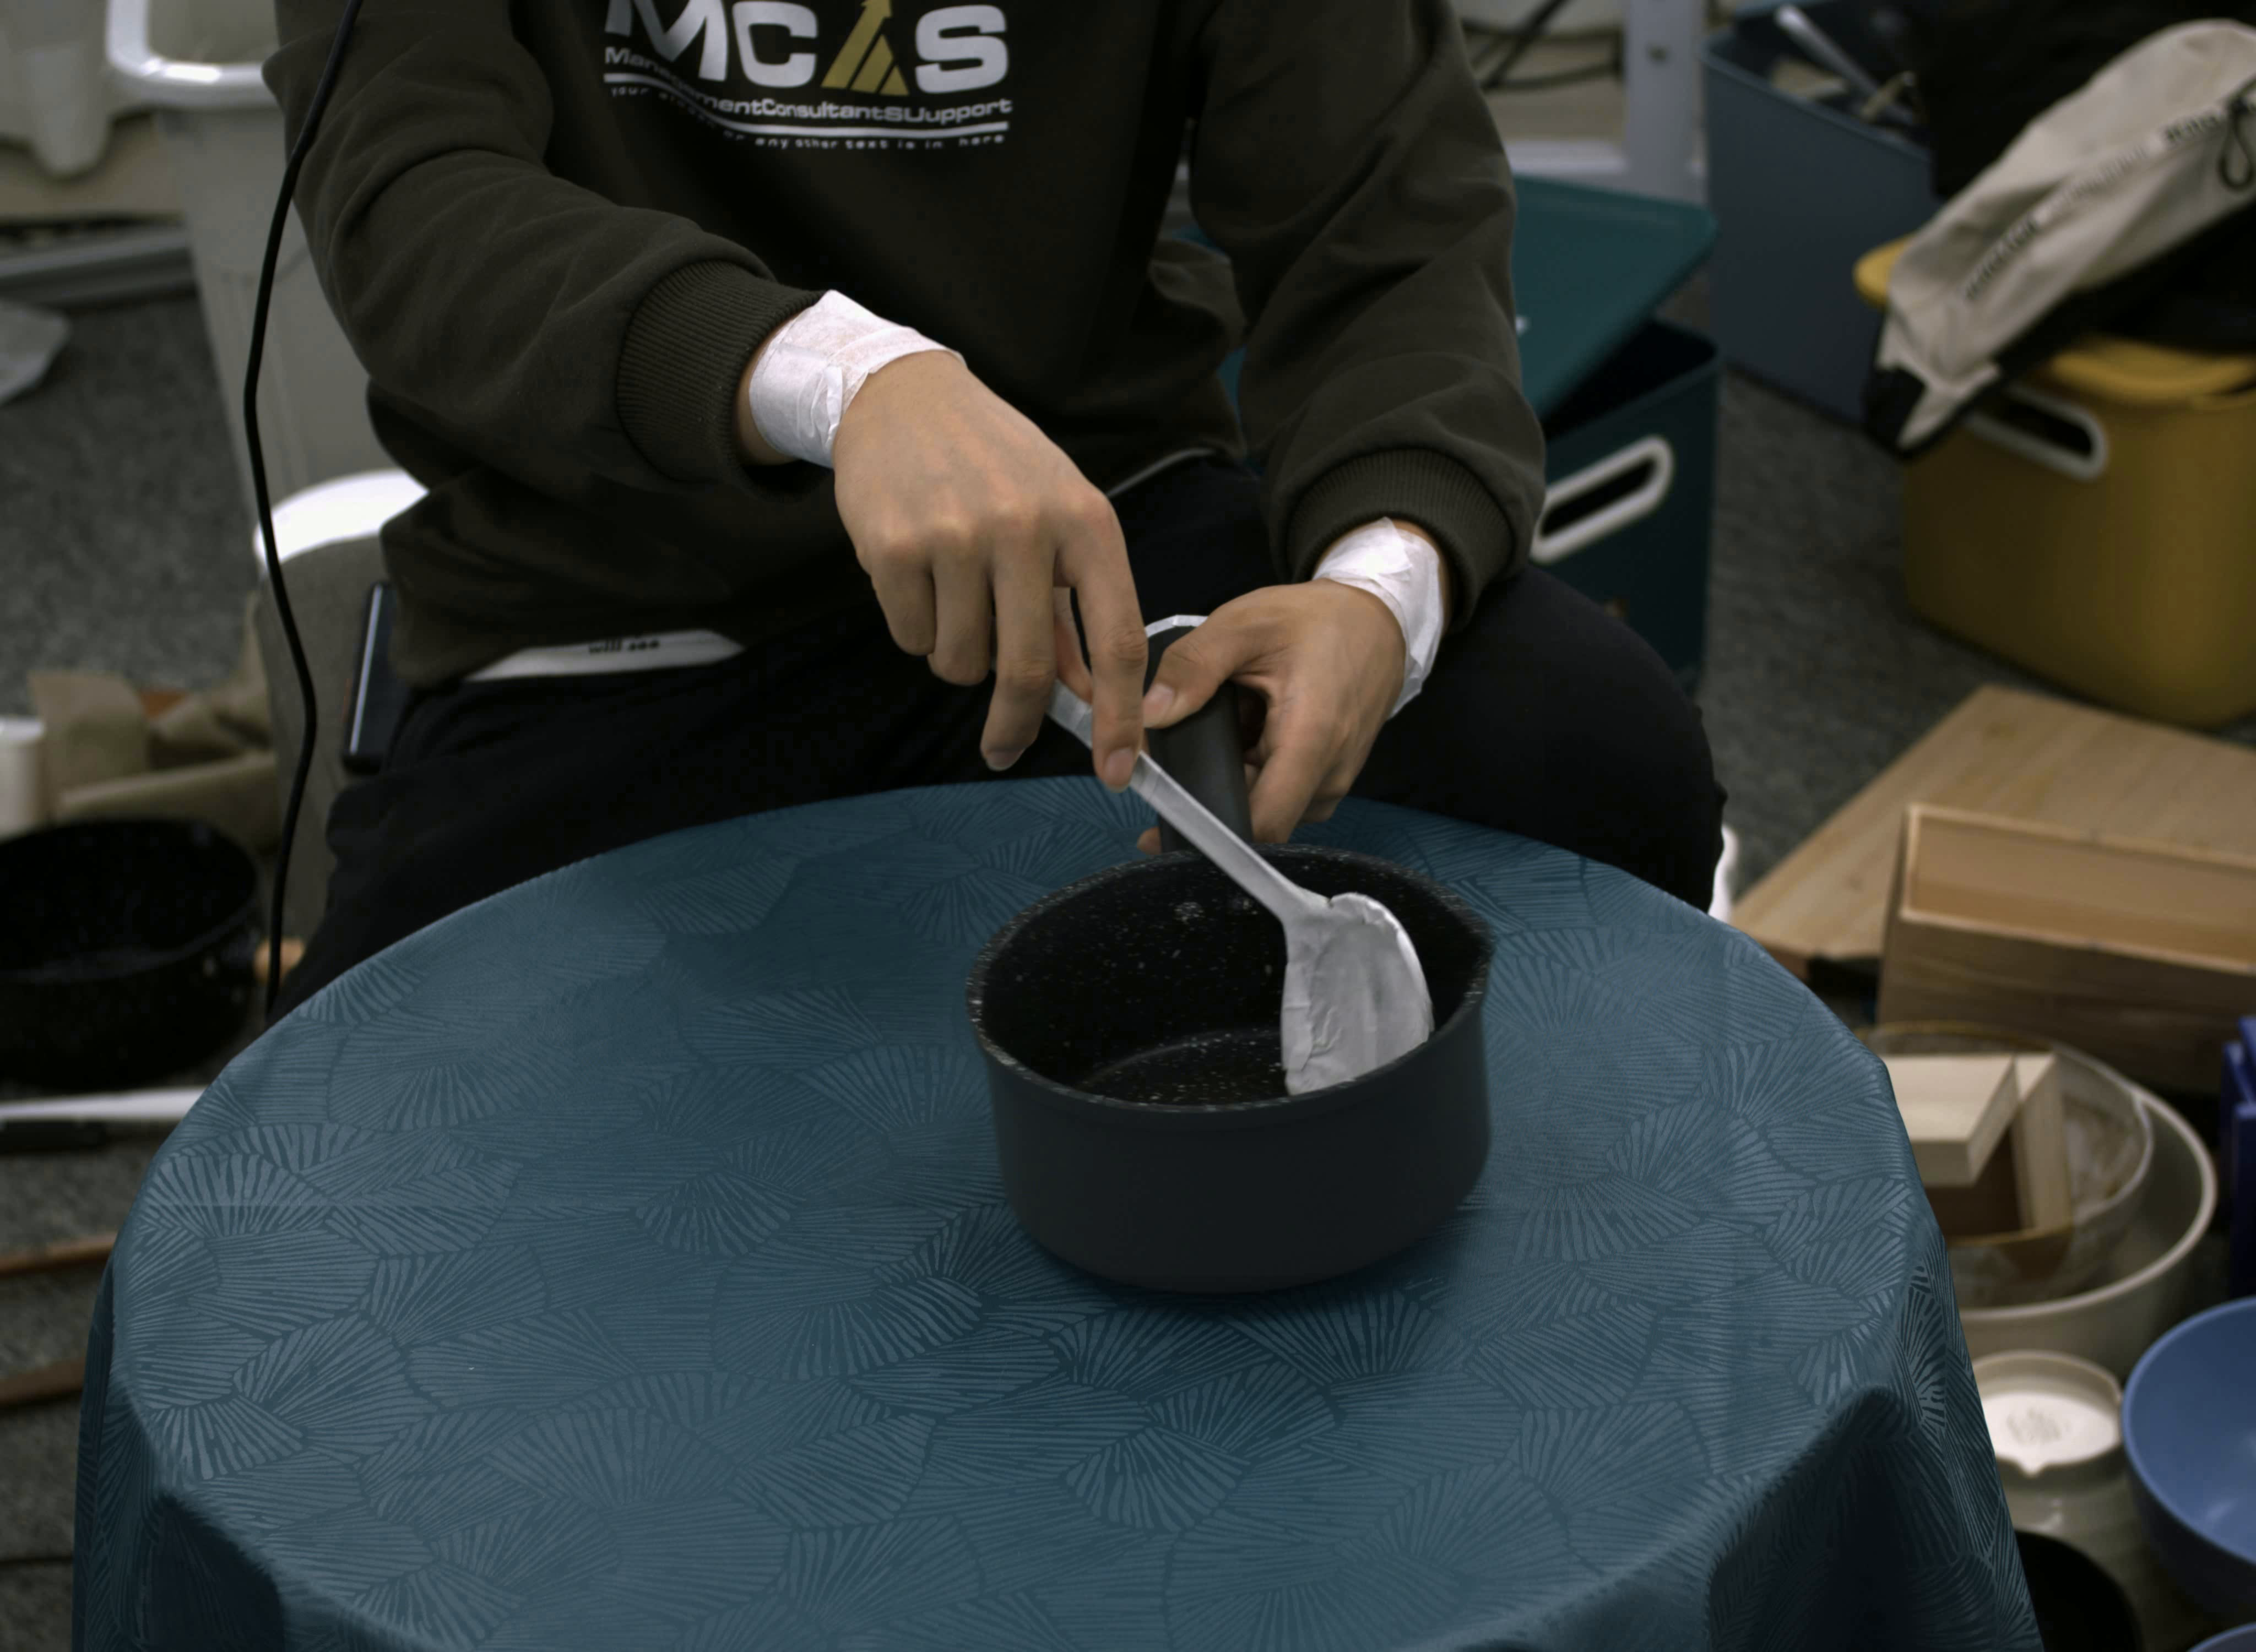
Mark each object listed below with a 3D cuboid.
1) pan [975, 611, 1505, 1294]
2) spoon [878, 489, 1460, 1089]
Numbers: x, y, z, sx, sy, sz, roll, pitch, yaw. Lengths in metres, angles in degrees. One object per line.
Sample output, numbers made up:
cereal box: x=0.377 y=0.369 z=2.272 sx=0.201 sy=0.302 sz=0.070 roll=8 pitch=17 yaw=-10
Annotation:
pan: x=0.037 y=0.039 z=1.905 sx=0.171 sy=0.085 sz=0.334 roll=-4 pitch=29 yaw=1
spoon: x=0.008 y=-0.010 z=1.846 sx=0.278 sy=0.099 sz=0.060 roll=43 pitch=35 yaw=7
